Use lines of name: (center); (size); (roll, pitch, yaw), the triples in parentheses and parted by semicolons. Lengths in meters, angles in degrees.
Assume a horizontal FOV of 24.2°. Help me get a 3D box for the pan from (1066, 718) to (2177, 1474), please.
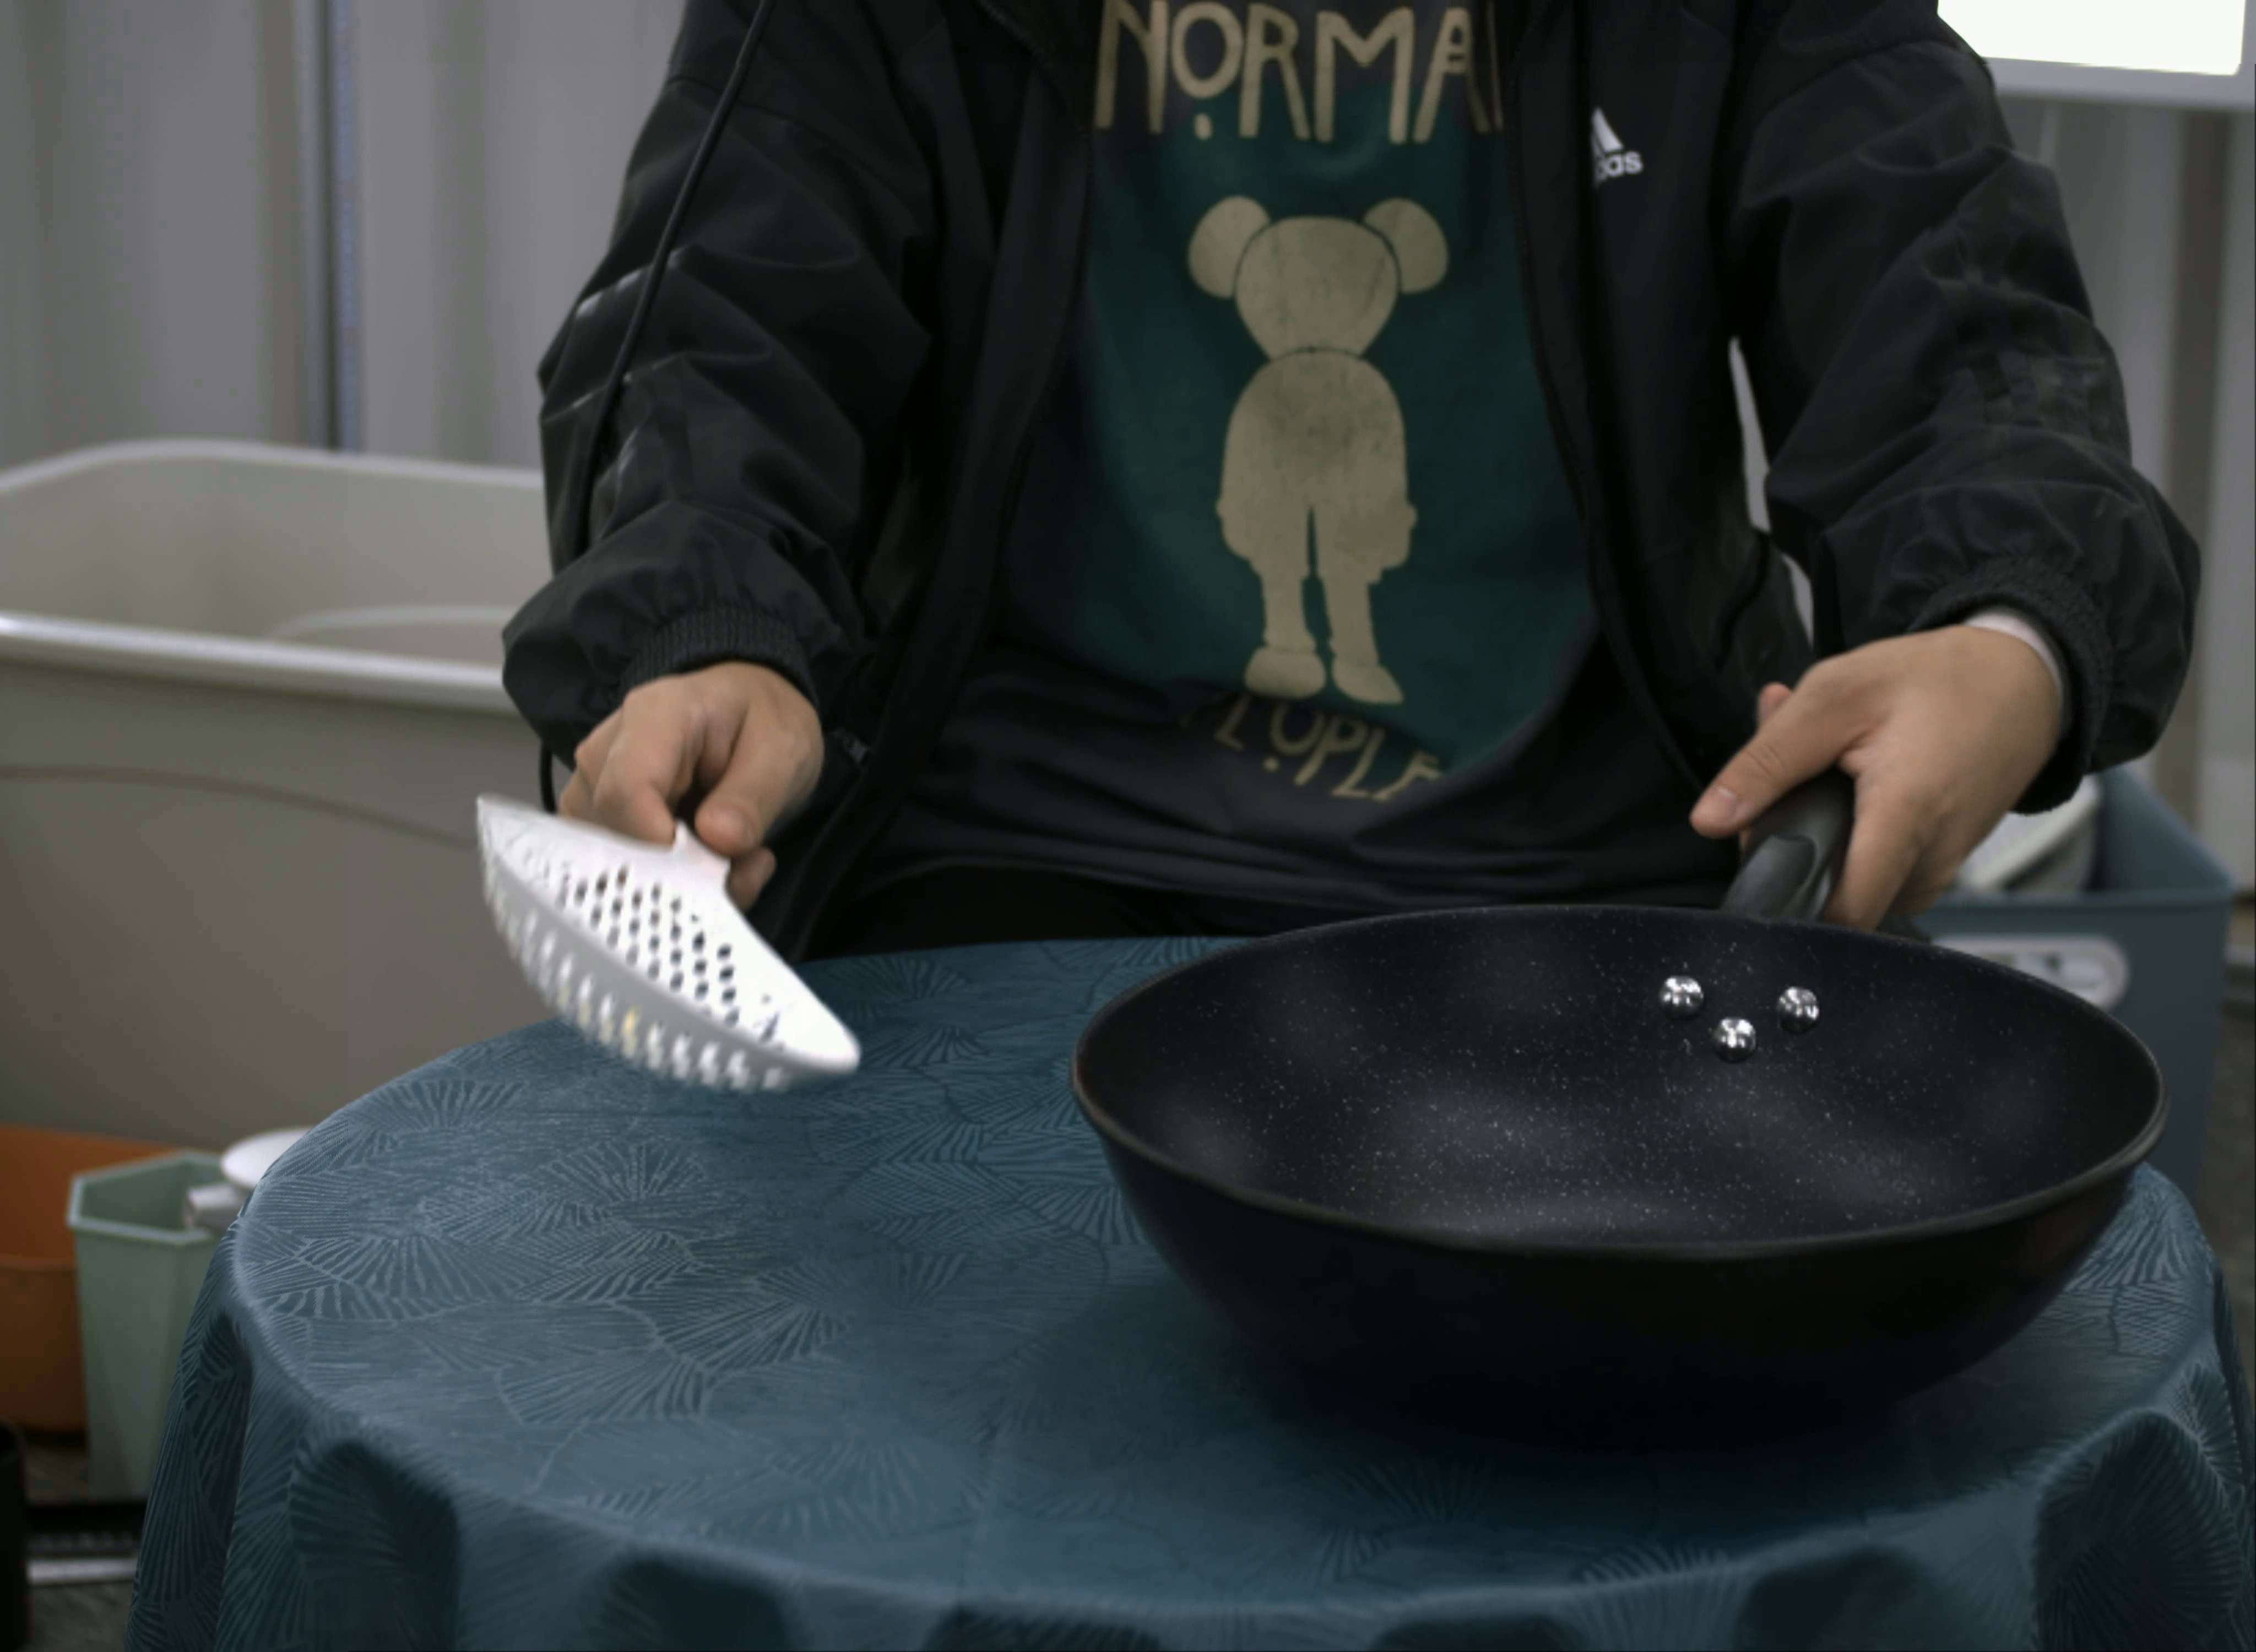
pan: (0.166, 0.077, 1.556); (0.307, 0.112, 0.477); (7, 18, 19)

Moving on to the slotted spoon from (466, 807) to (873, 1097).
slotted spoon: (-0.142, 0.029, 1.625); (0.137, 0.050, 0.346); (32, 9, -5)
